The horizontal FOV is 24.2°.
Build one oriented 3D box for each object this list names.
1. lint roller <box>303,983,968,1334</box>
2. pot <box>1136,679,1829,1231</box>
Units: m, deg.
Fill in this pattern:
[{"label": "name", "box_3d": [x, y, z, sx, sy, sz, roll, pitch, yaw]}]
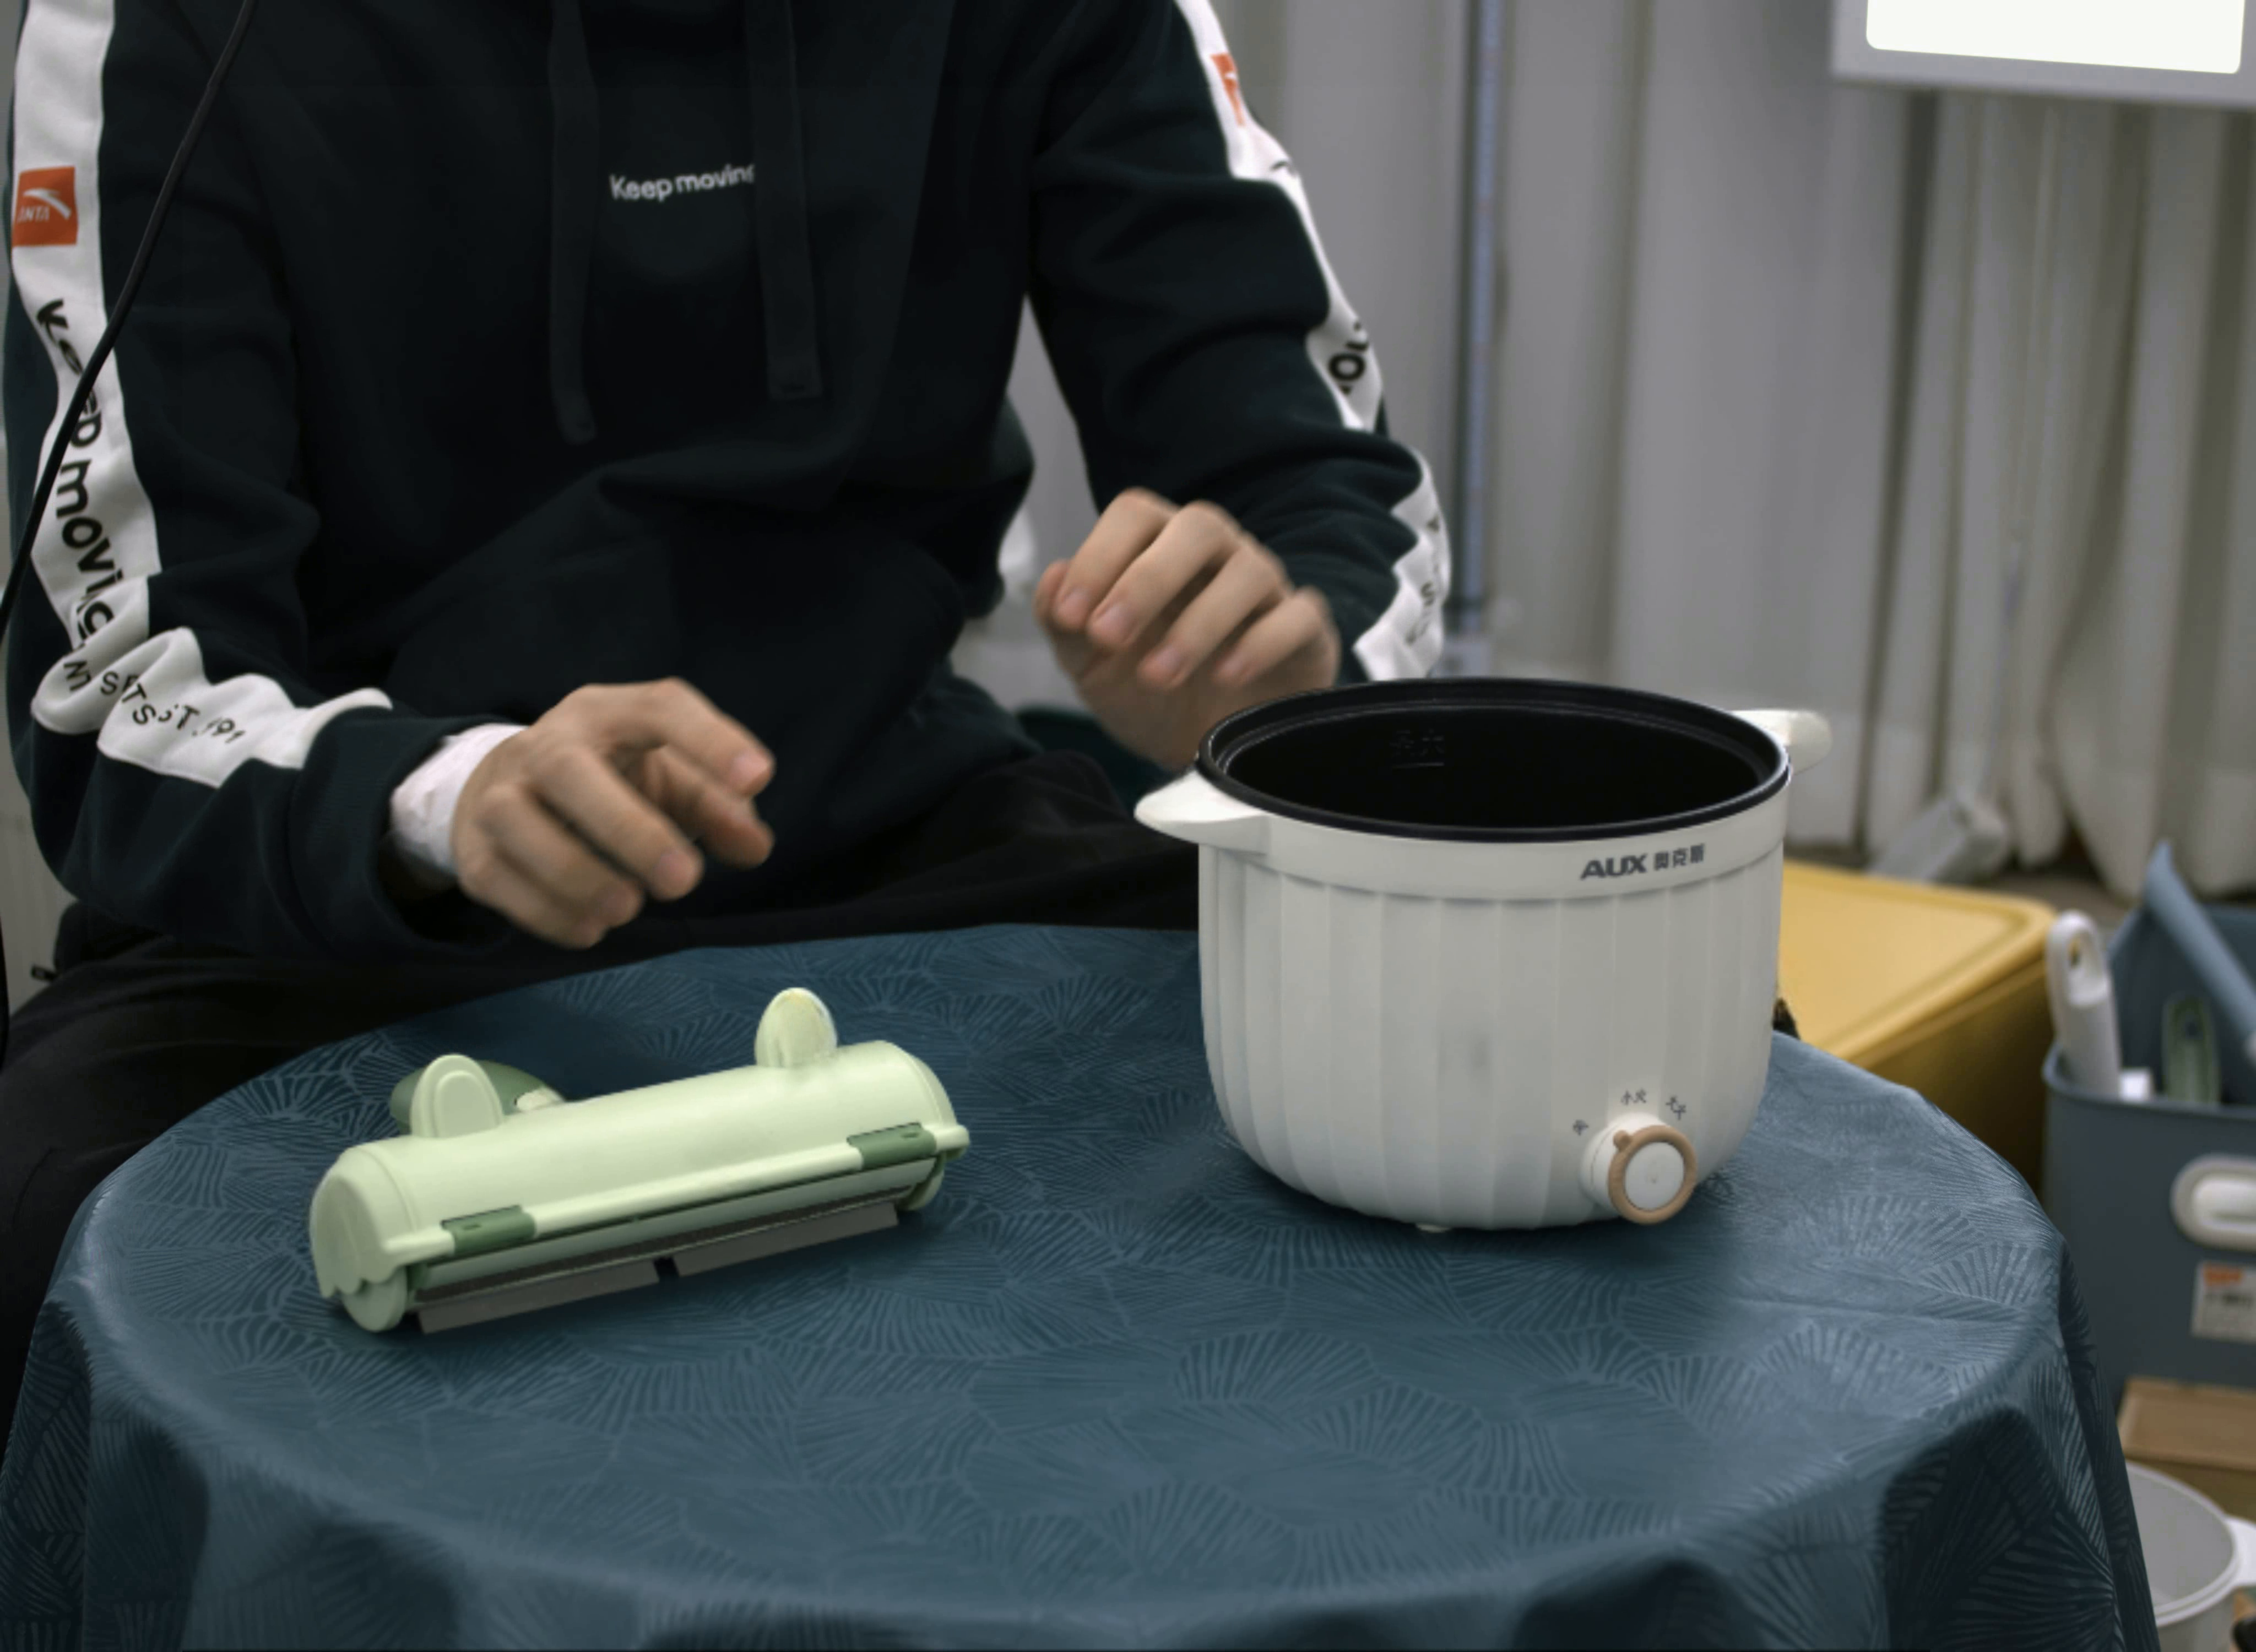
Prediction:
[{"label": "lint roller", "box_3d": [-0.175, 0.081, 1.585, 0.199, 0.083, 0.181, -11, 24, -33]}, {"label": "pot", "box_3d": [0.115, 0.042, 1.618, 0.241, 0.144, 0.188, -9, 15, -26]}]
